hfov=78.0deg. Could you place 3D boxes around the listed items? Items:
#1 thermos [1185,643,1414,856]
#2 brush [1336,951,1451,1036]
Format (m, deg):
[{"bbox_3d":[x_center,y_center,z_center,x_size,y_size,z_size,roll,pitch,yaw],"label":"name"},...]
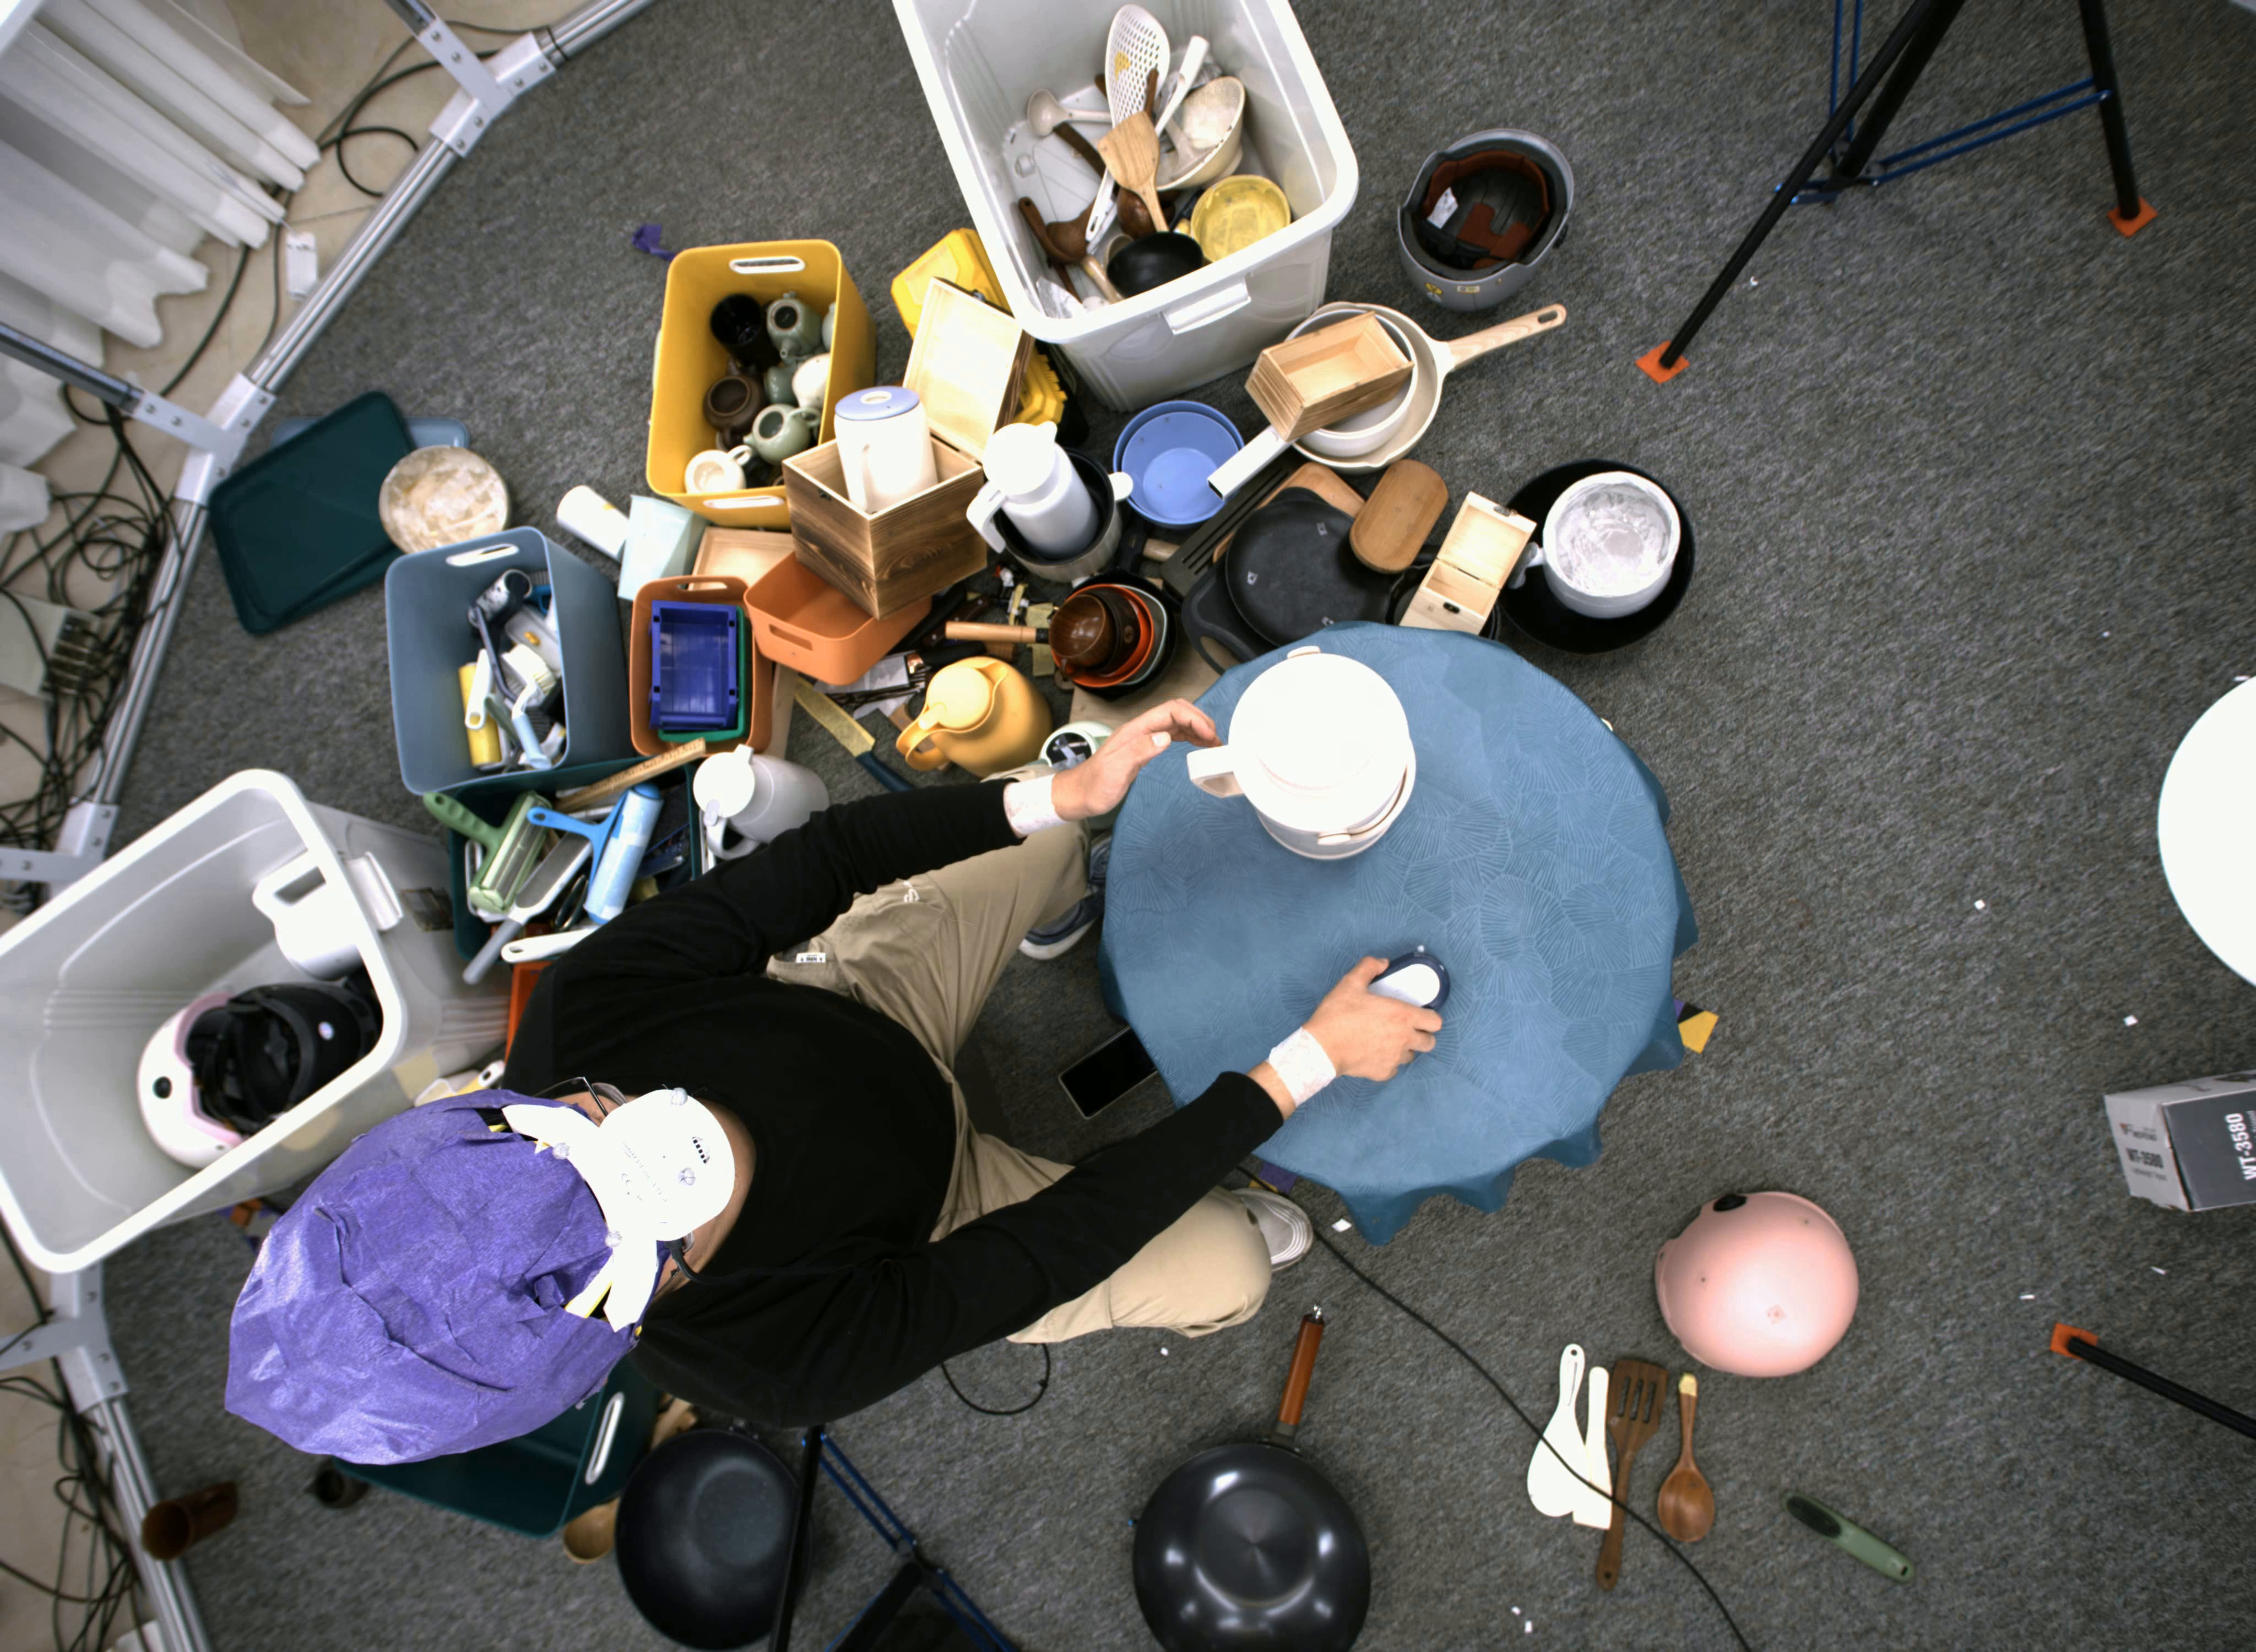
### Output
[{"bbox_3d":[0.165,-0.065,1.286,0.208,0.406,0.174,-10,84,8],"label":"thermos"},{"bbox_3d":[0.272,0.171,1.420,0.122,0.061,0.067,-21,84,9],"label":"brush"}]
